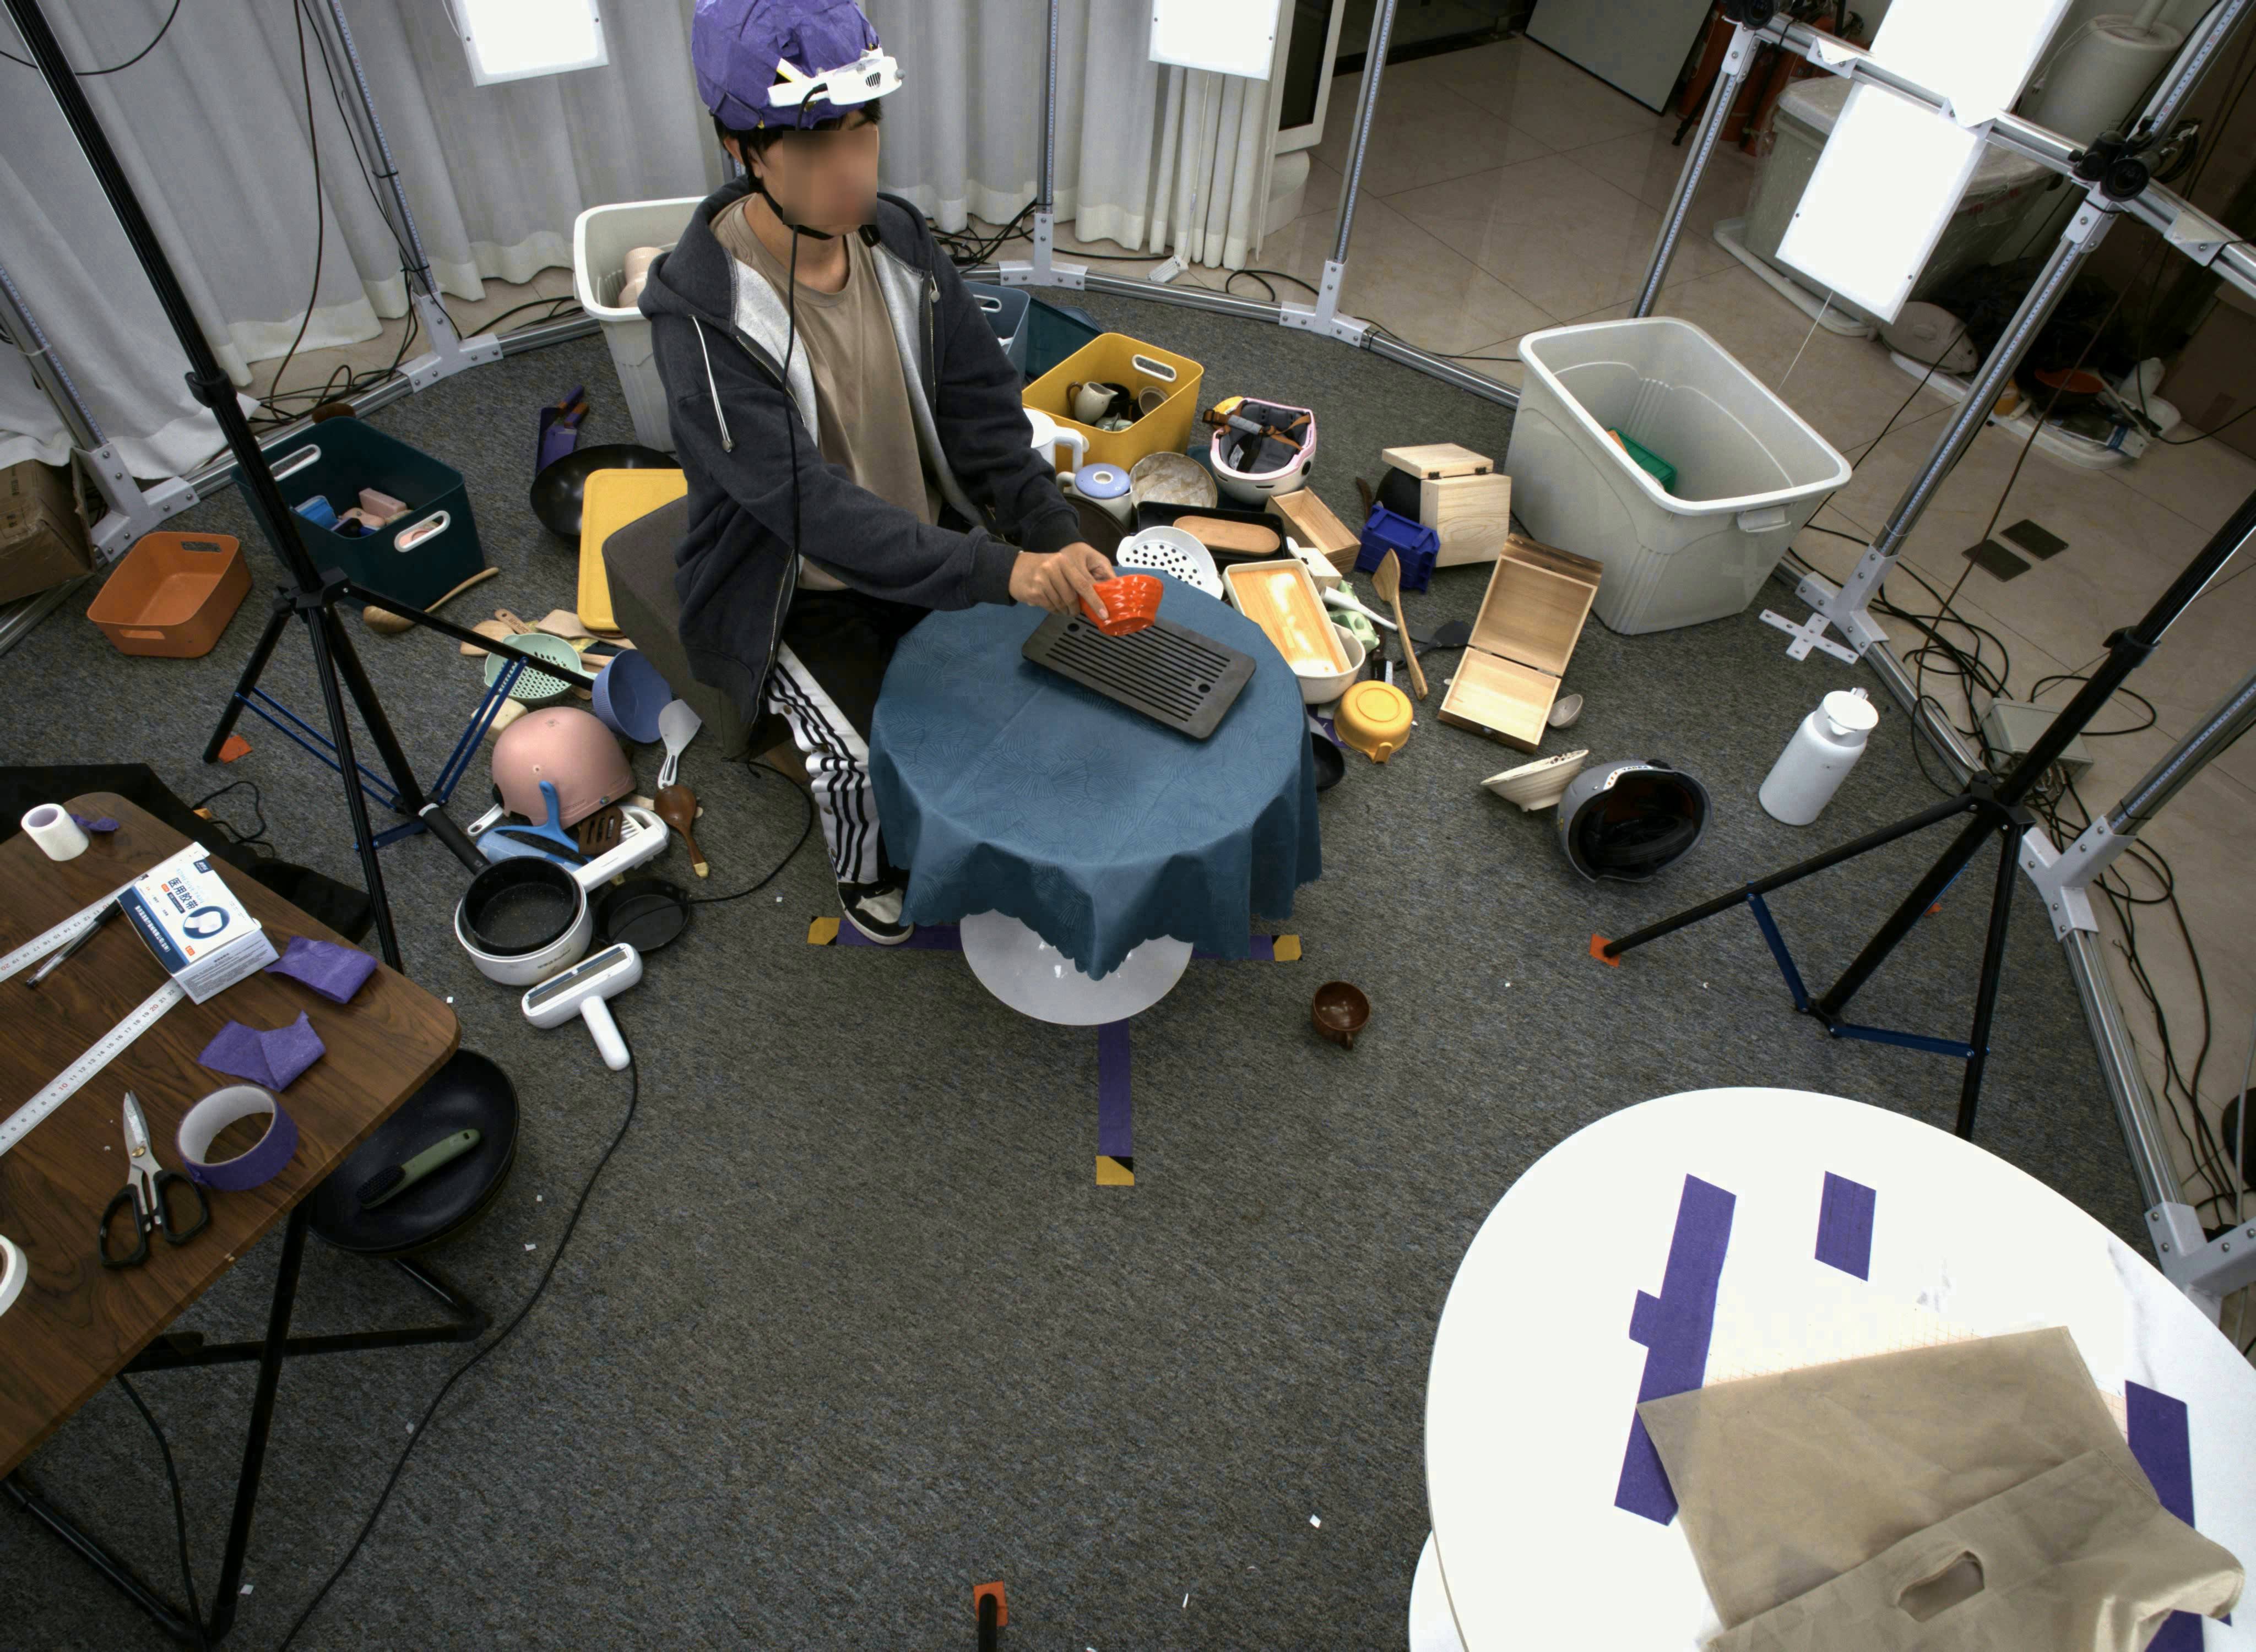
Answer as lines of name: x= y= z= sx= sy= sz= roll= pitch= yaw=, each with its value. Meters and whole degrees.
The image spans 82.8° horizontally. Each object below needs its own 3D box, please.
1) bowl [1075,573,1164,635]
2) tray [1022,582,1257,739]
bowl: x=-0.007 y=-0.285 z=1.671 sx=0.119 sy=0.118 sz=0.052 roll=-8 pitch=83 yaw=-12
tray: x=0.016 y=-0.240 z=1.847 sx=0.308 sy=0.018 sz=0.173 roll=26 pitch=58 yaw=16
